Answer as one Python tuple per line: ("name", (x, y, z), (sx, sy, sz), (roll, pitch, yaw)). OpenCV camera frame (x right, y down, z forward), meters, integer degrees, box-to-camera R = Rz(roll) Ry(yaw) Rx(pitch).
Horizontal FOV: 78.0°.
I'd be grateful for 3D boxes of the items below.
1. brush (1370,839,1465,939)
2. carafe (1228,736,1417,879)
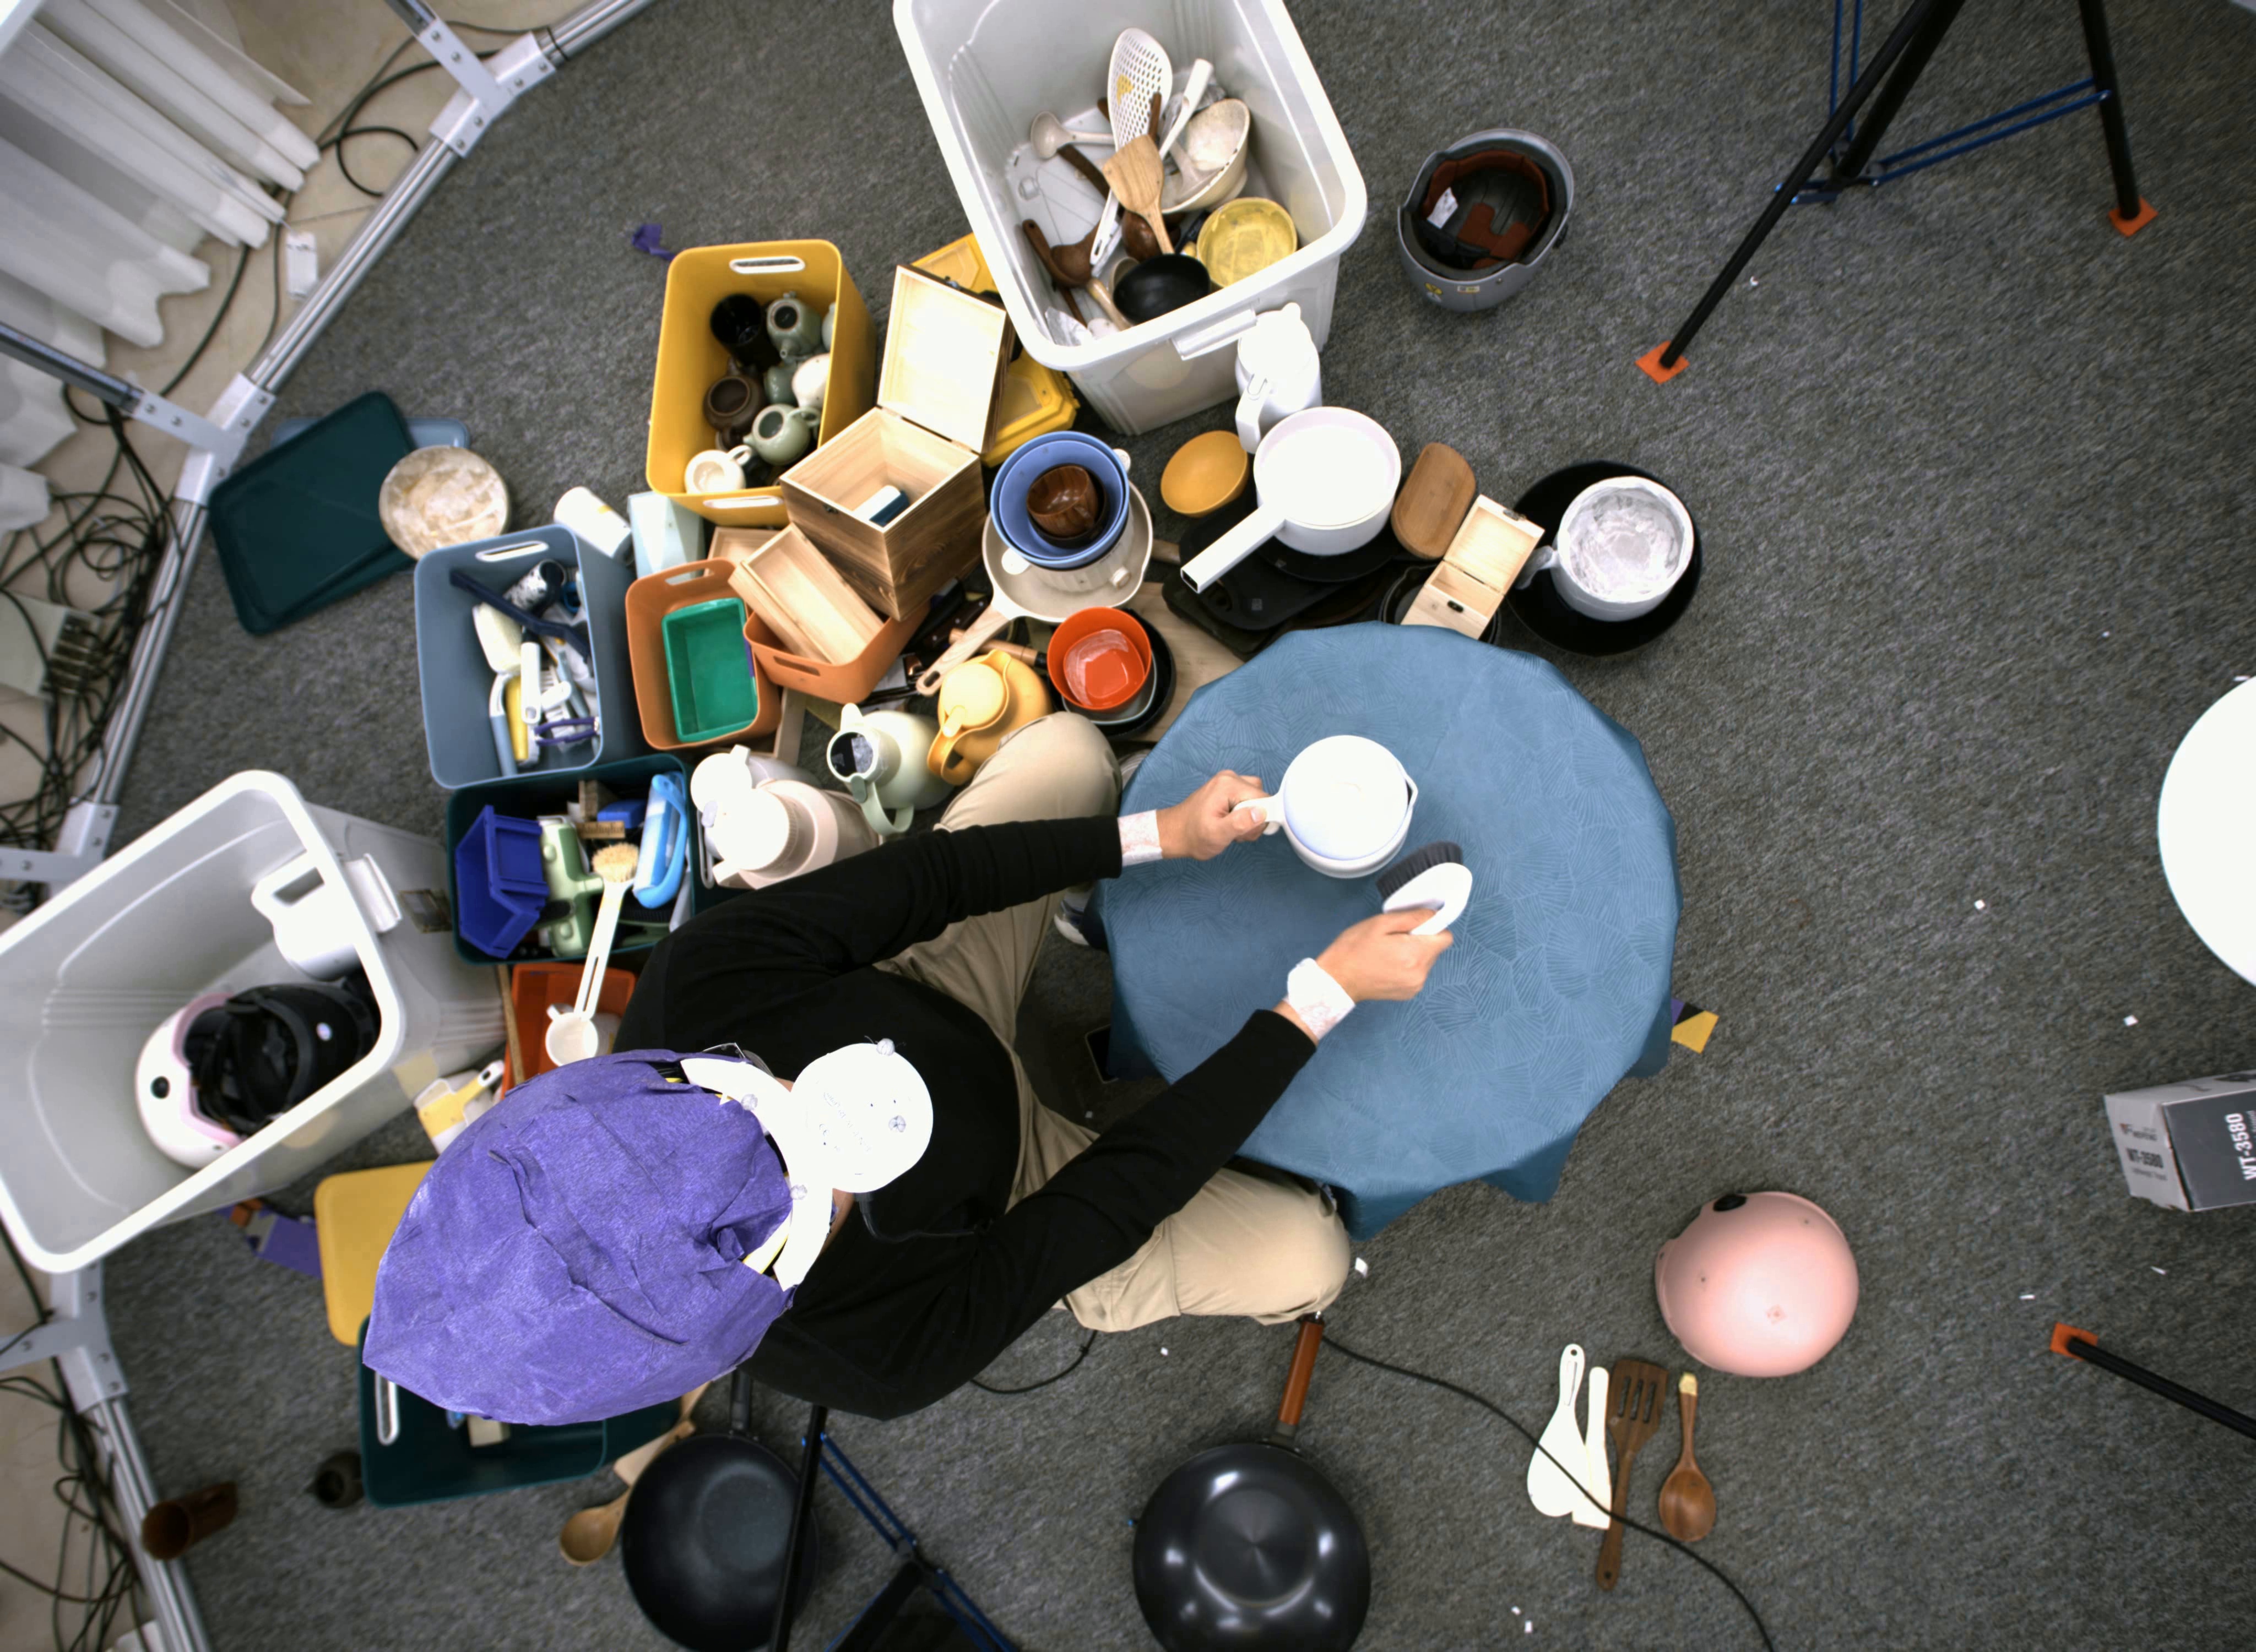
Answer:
("brush", (0.279, 0.066, 1.316), (0.101, 0.050, 0.071), (-40, 47, 41))
("carafe", (0.194, -0.015, 1.392), (0.192, 0.183, 0.131), (-8, 83, 11))
